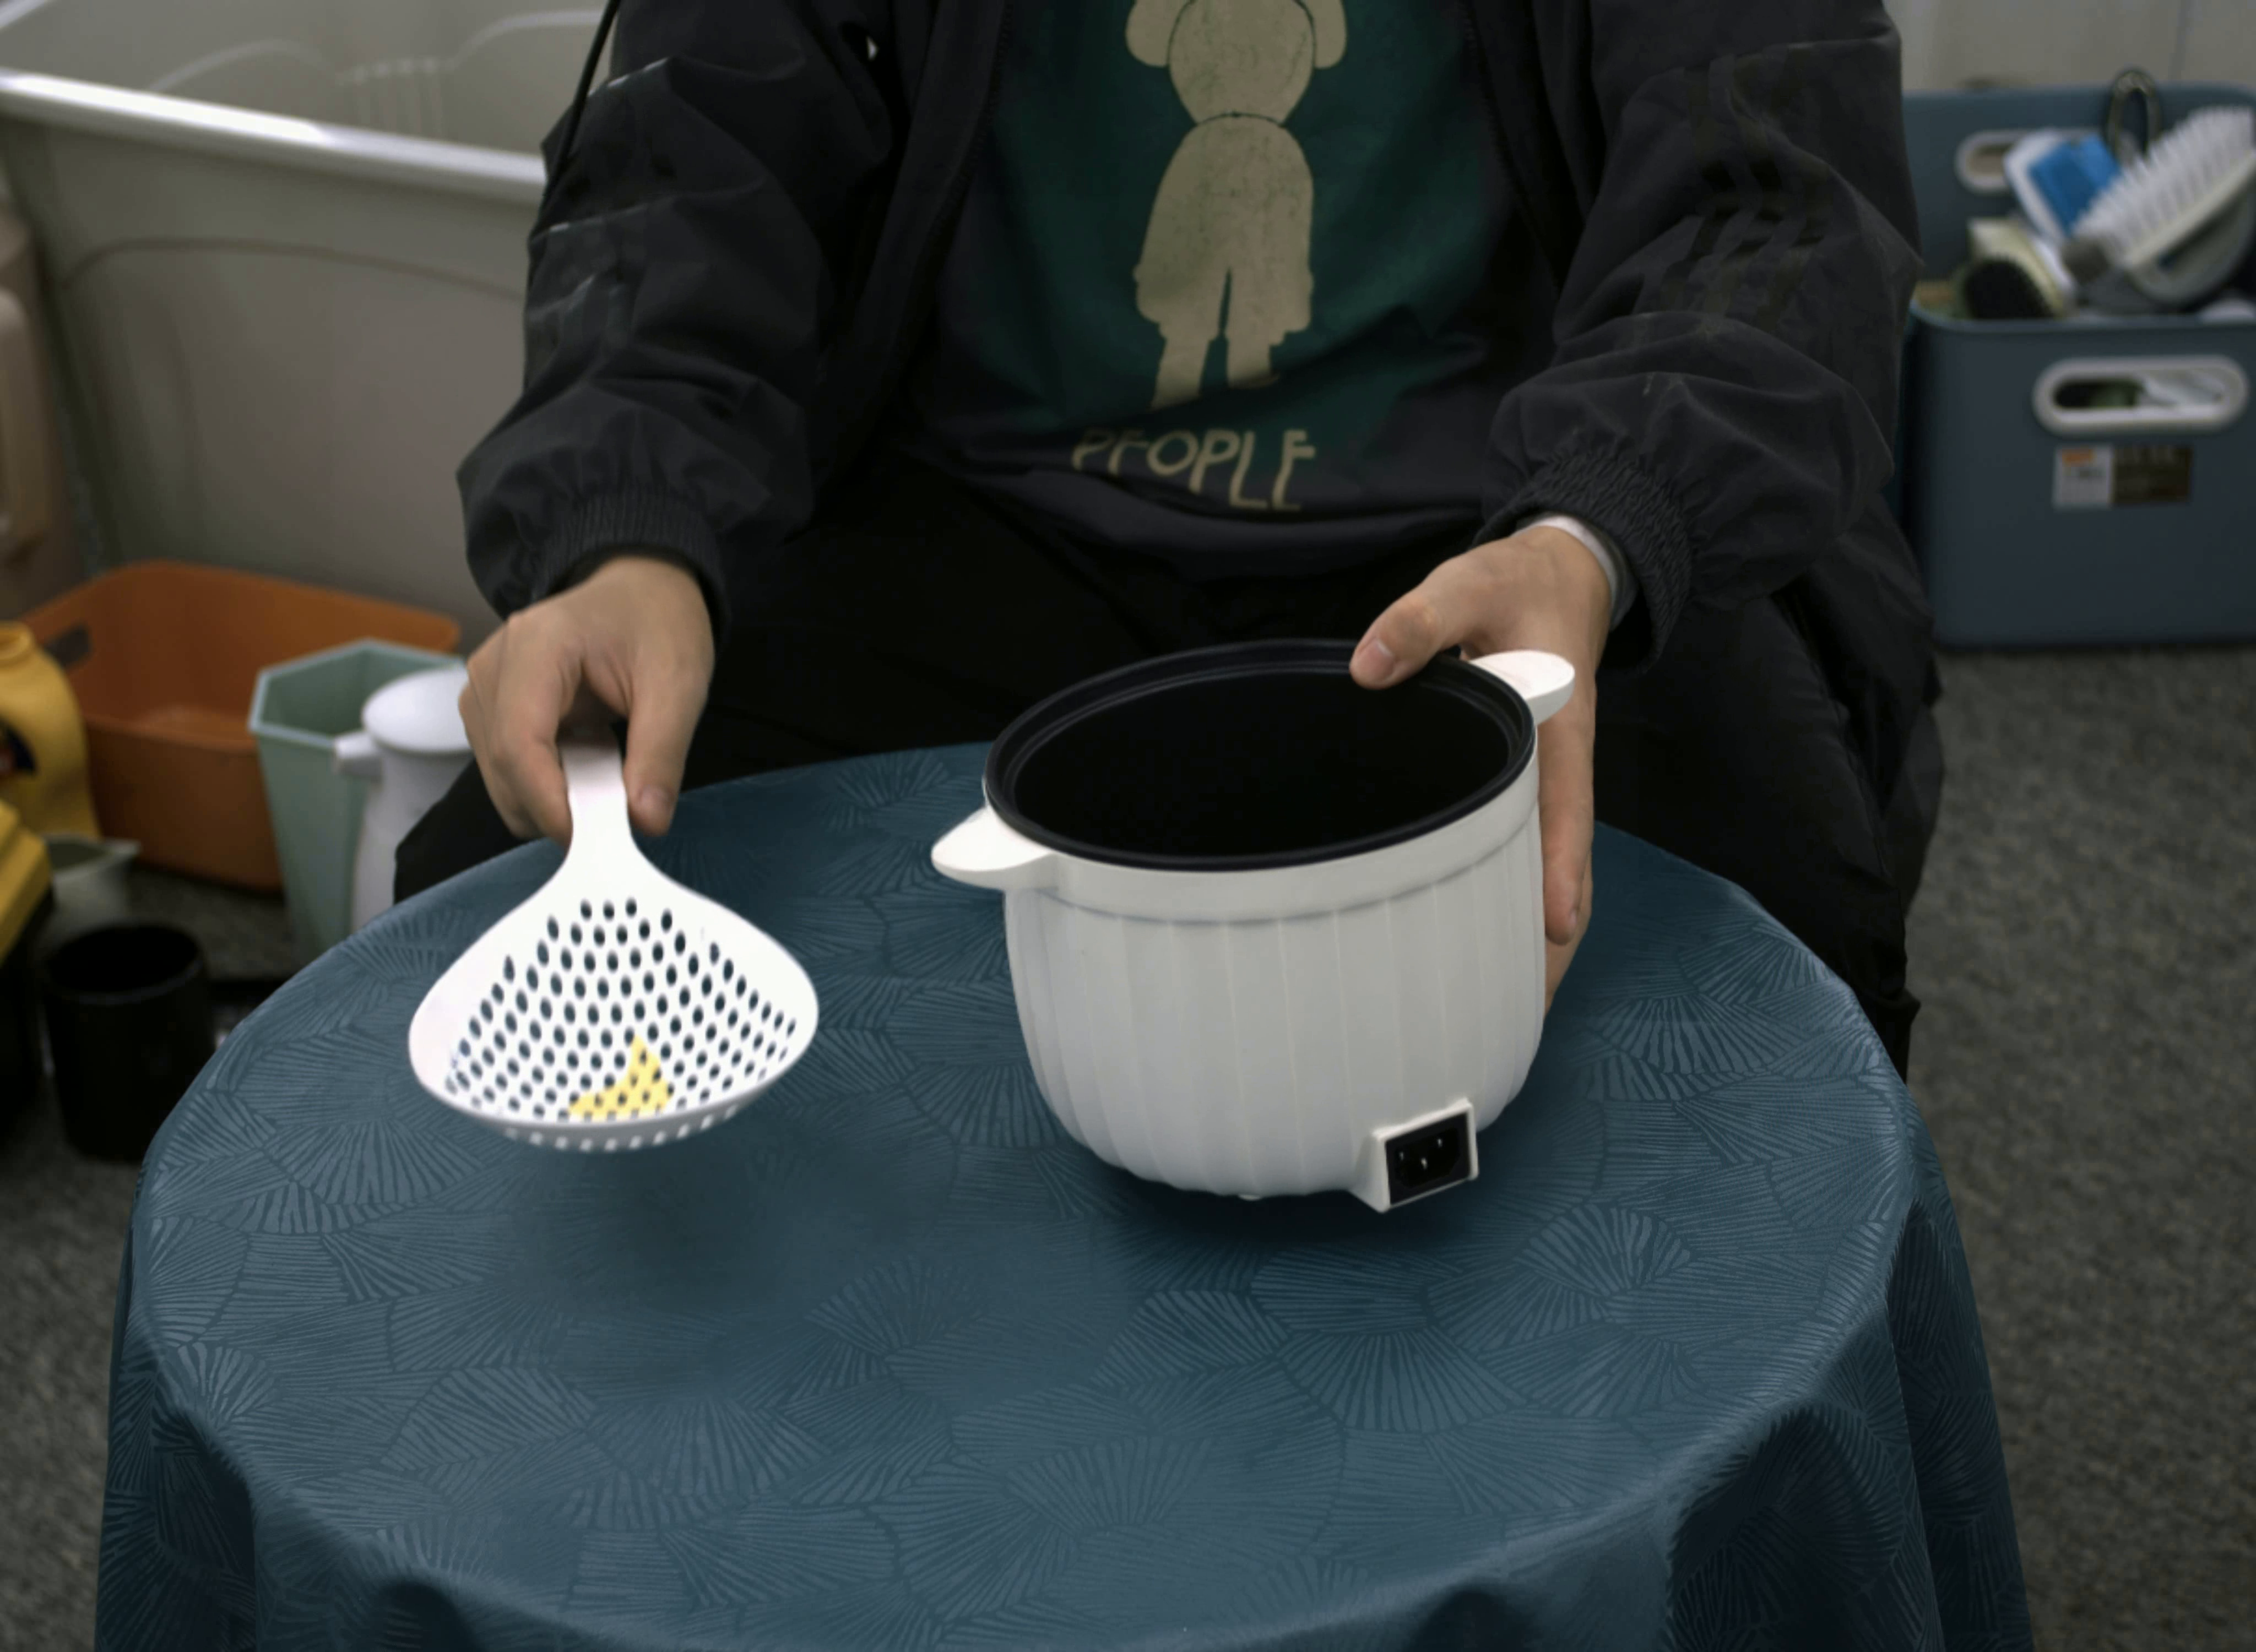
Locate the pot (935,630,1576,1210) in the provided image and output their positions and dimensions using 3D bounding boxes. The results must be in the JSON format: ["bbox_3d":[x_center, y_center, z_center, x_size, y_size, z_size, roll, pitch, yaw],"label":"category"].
[{"bbox_3d":[0.045,0.031,1.856,0.242,0.141,0.191,-17,28,-27],"label":"pot"}]

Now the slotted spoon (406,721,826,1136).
[{"bbox_3d":[-0.180,0.023,1.924,0.136,0.050,0.352,-7,29,-5],"label":"slotted spoon"}]
